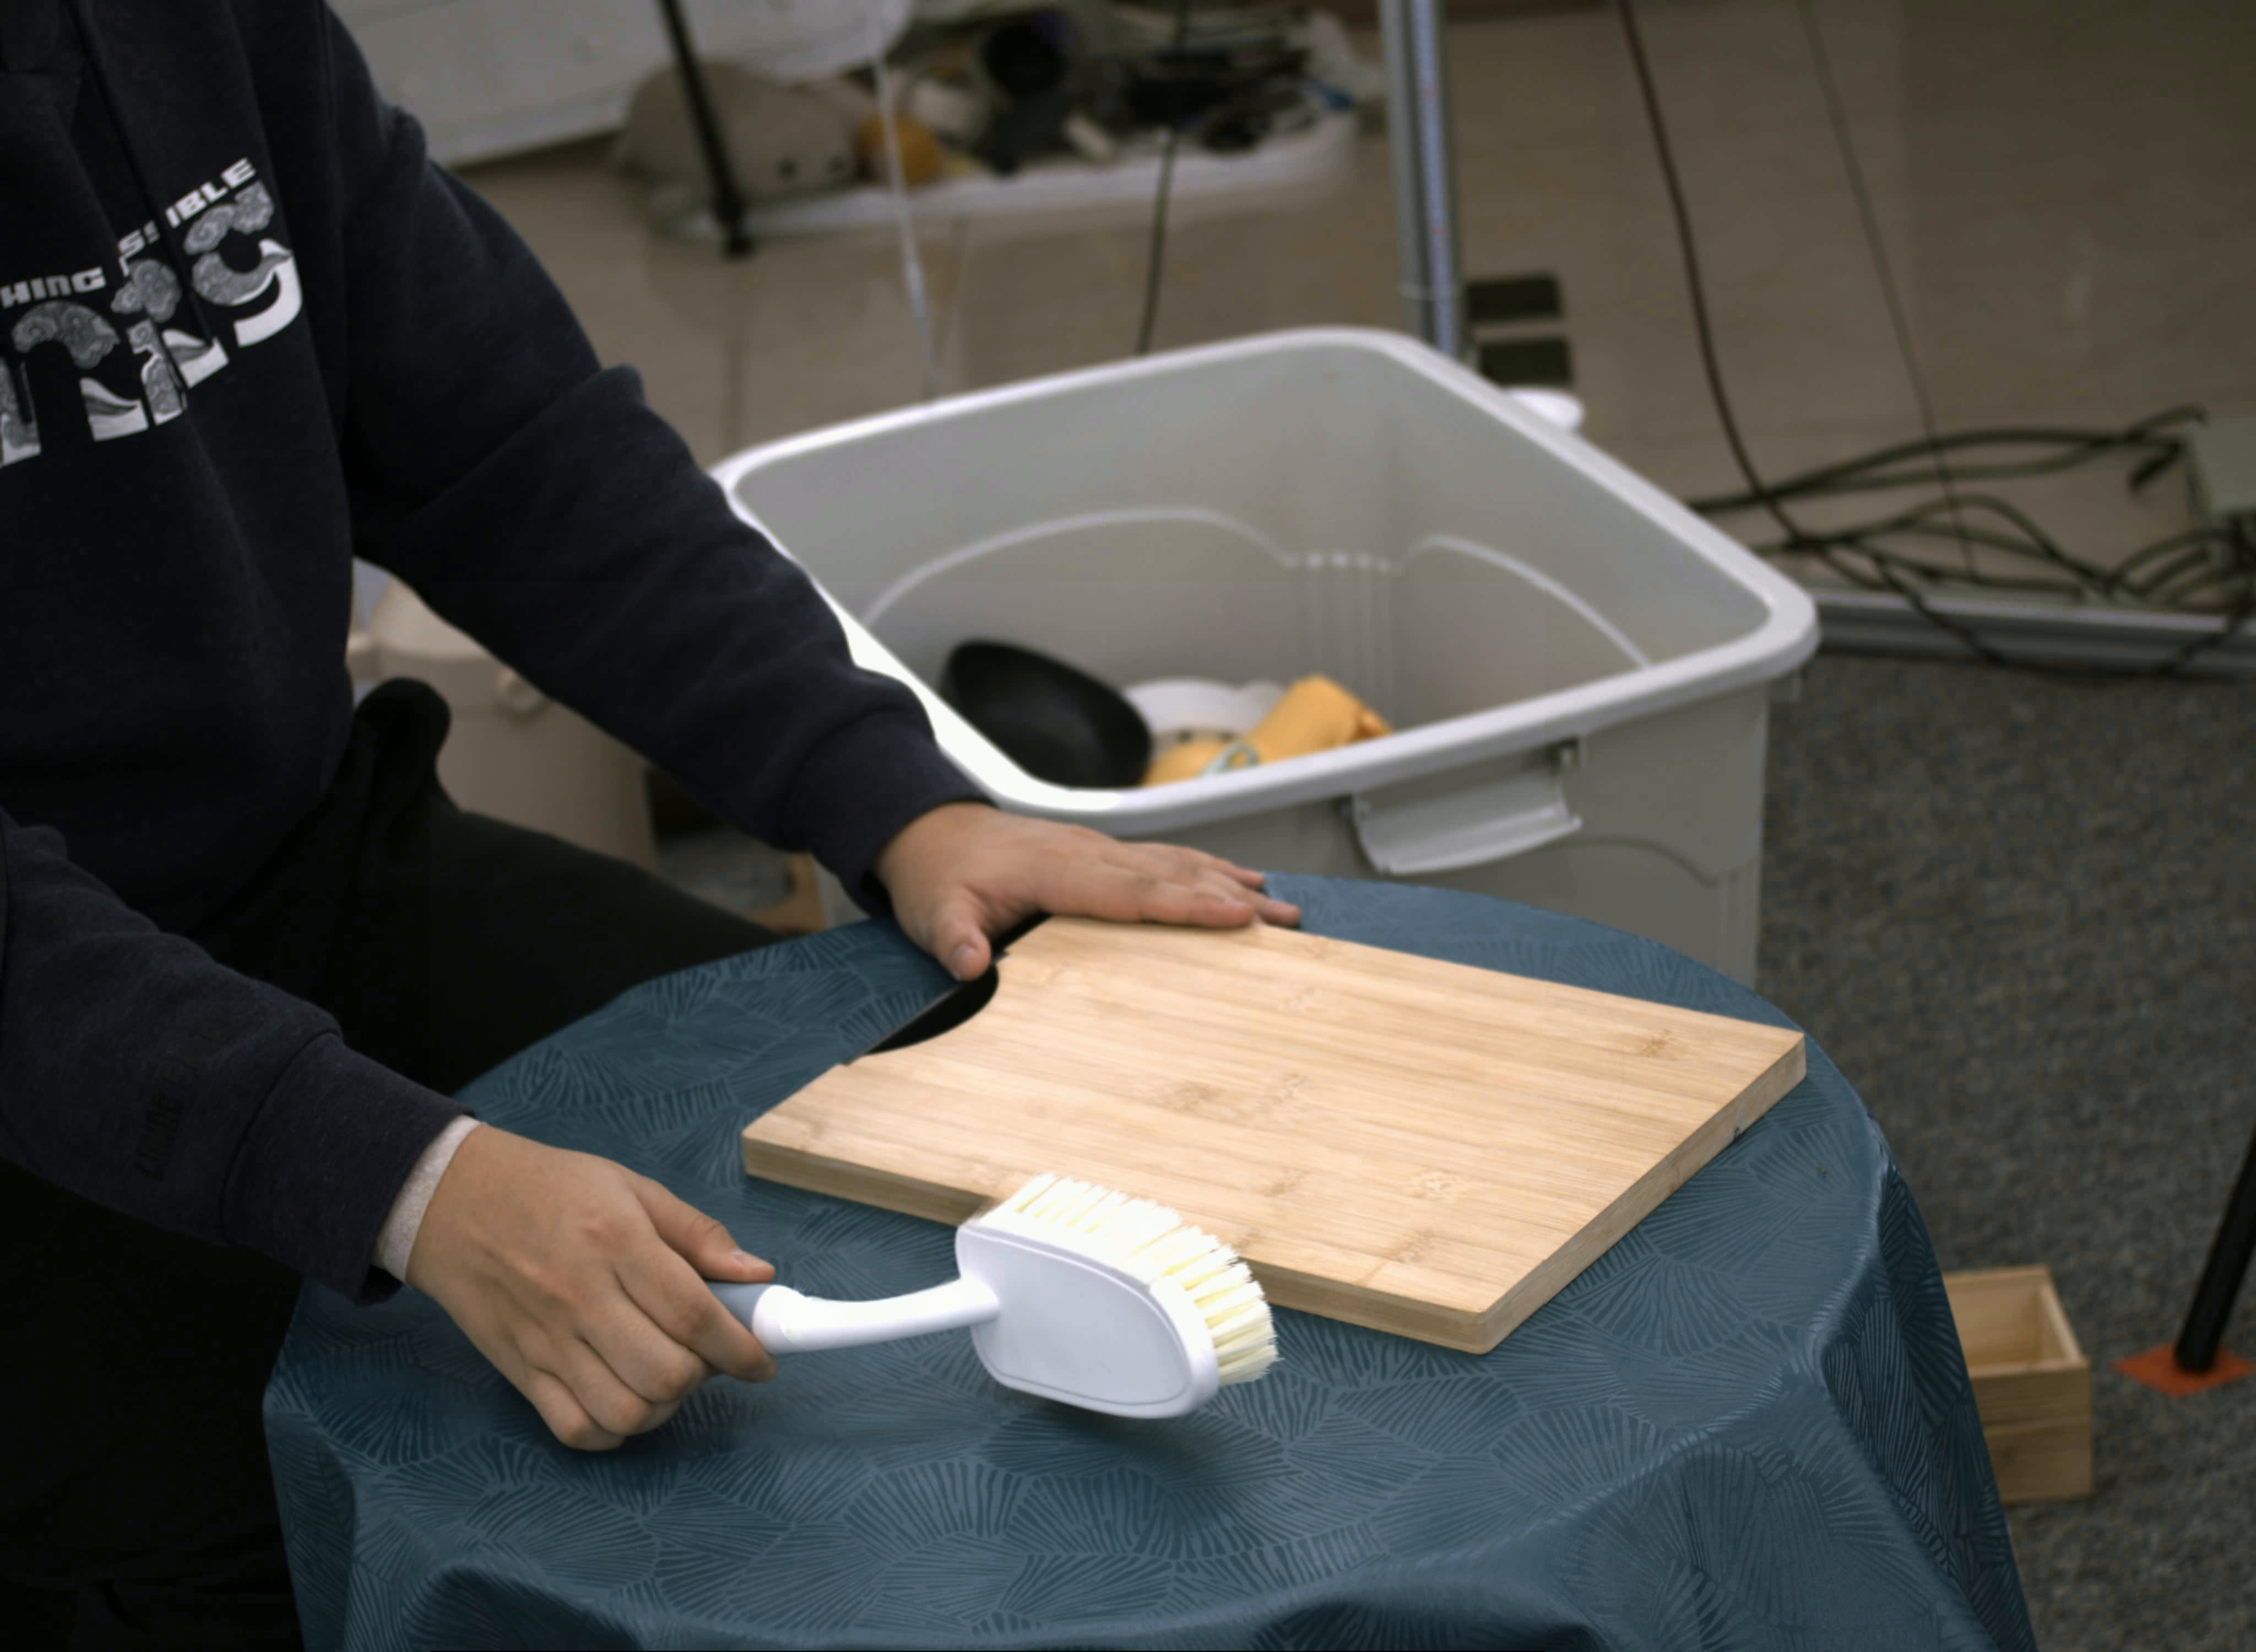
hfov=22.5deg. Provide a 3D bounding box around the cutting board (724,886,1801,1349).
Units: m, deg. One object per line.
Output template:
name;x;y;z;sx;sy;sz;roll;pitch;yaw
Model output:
cutting board;0.051;0.107;2.187;0.347;0.024;0.248;11;29;33

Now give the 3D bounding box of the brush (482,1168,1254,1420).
brush;-0.090;0.158;2.028;0.324;0.083;0.085;4;-10;34
